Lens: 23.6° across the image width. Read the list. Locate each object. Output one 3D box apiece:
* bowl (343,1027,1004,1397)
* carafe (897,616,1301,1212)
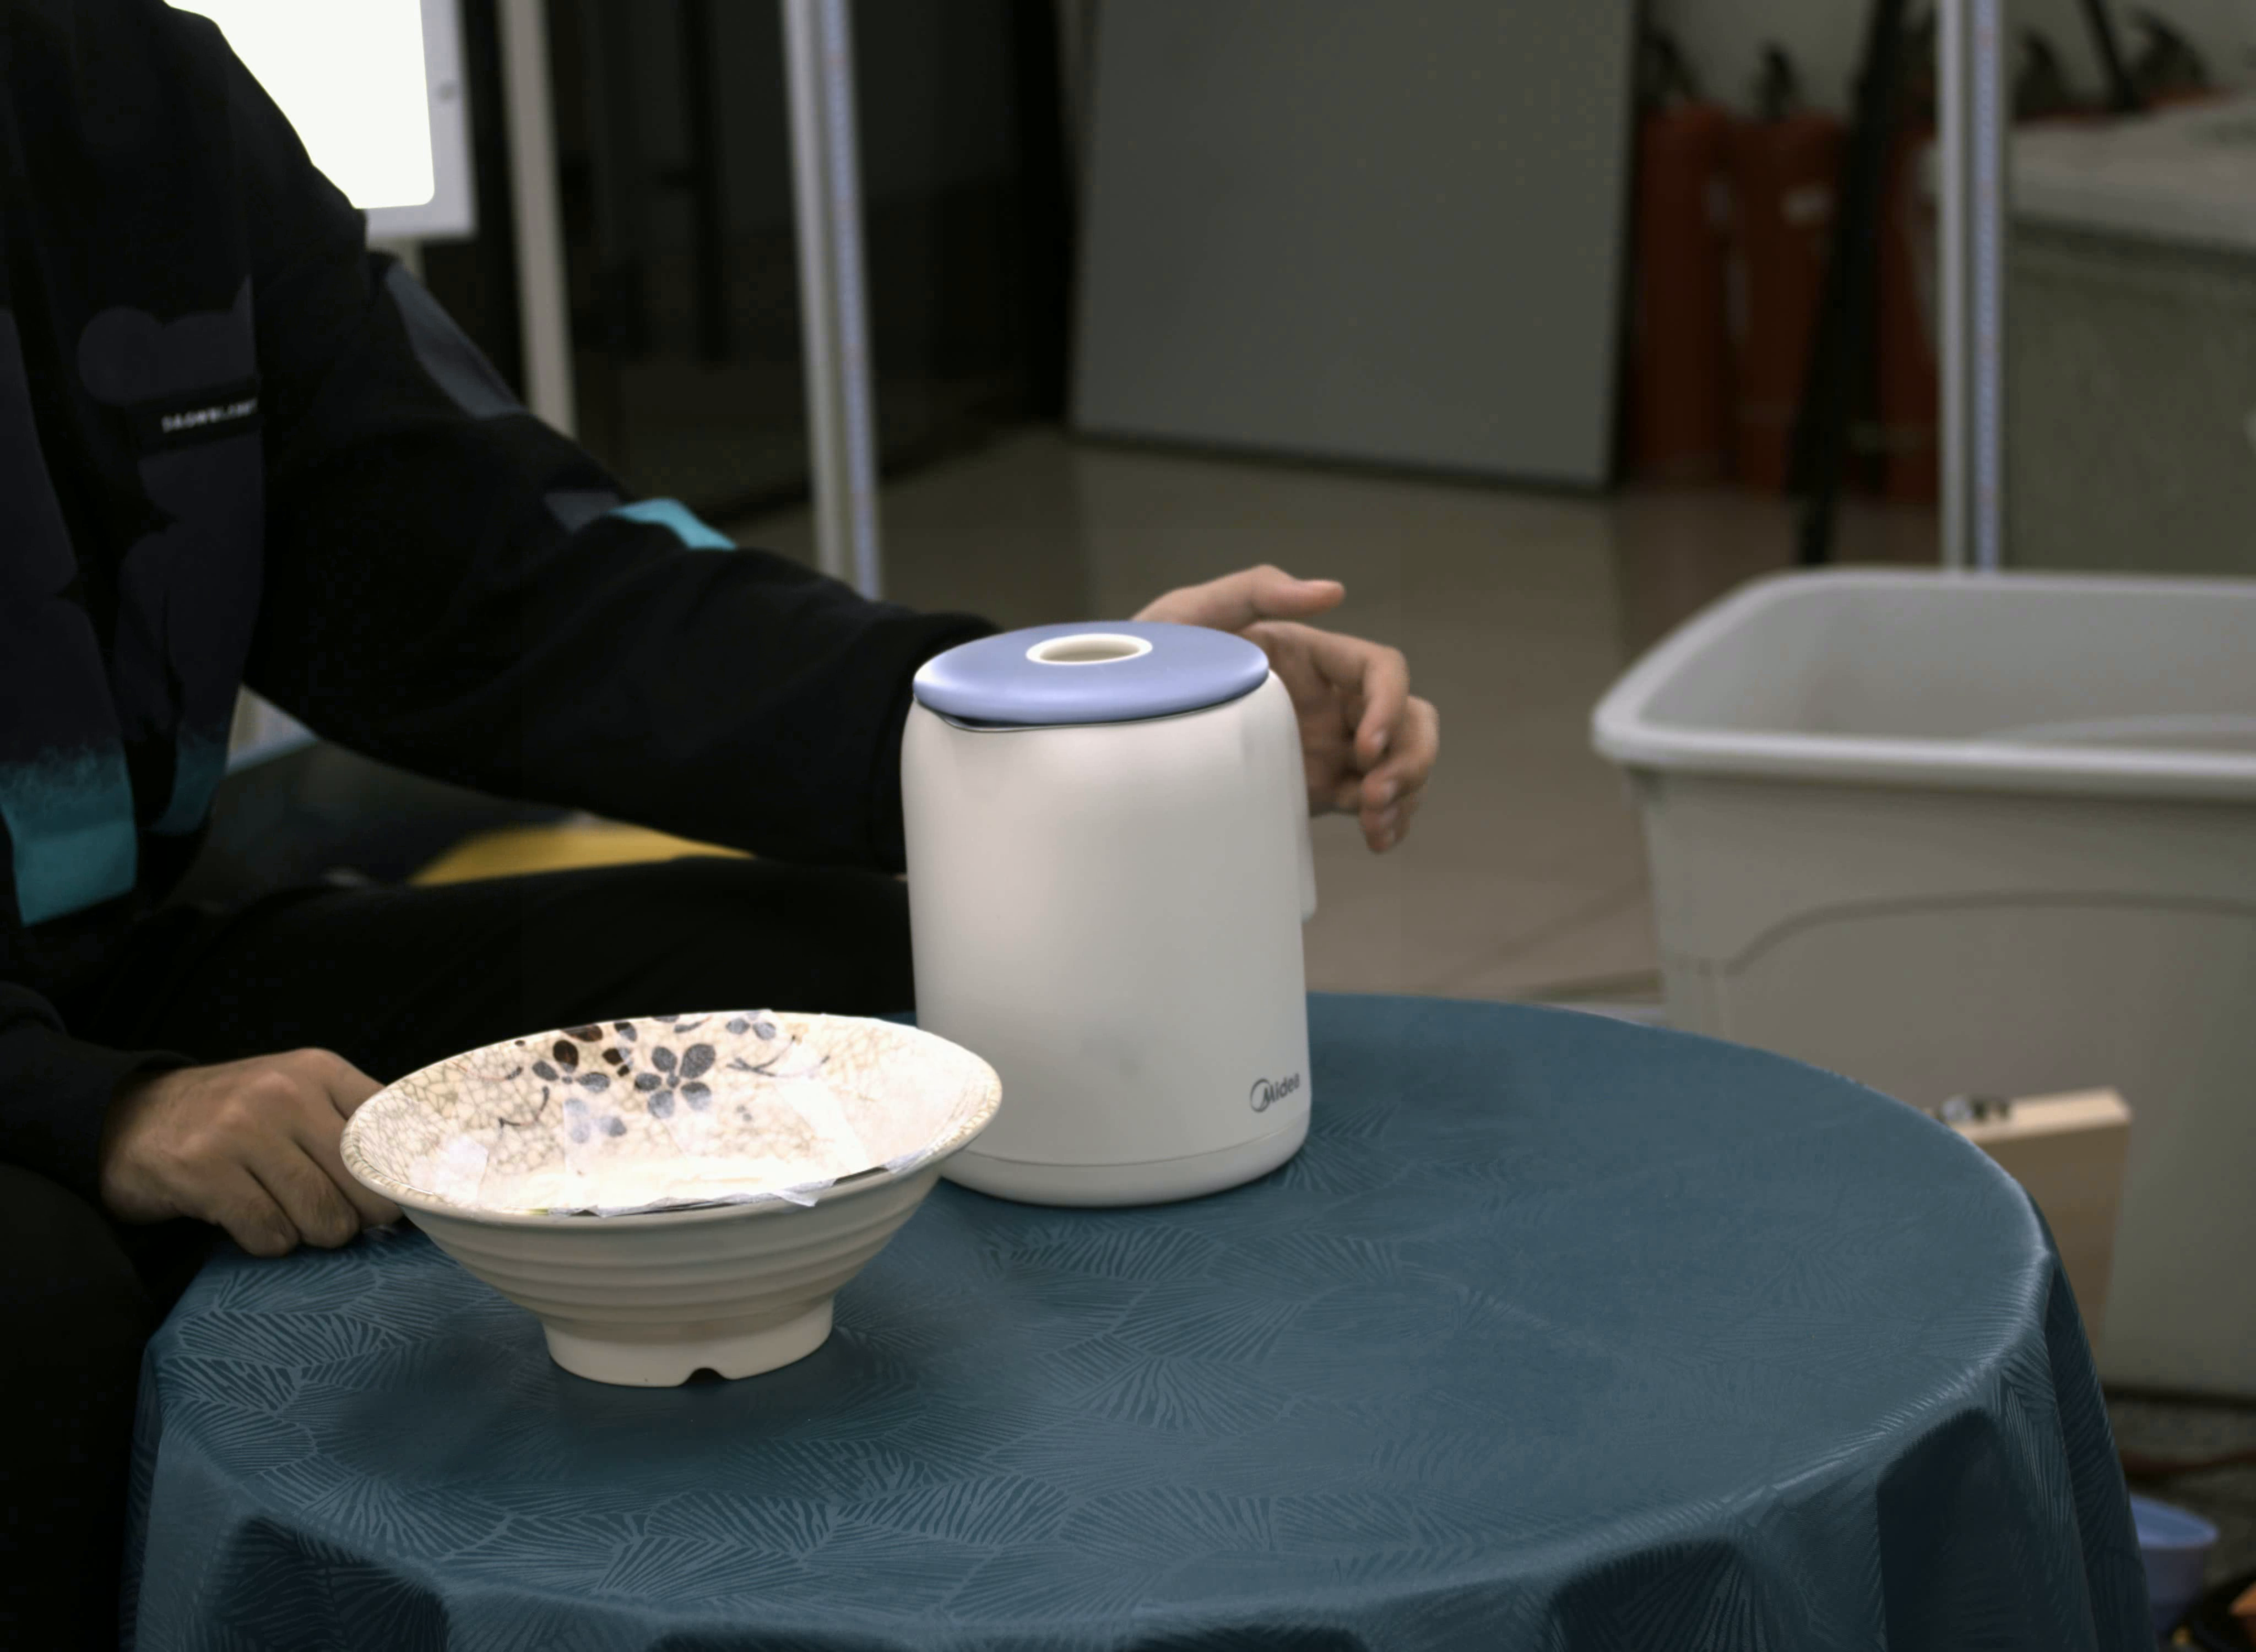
[{"bbox_3d":[-0.134,0.123,1.647,0.201,0.079,0.204,-6,12,0],"label":"bowl"},{"bbox_3d":[0.004,0.023,1.810,0.133,0.184,0.188,7,15,33],"label":"carafe"}]
